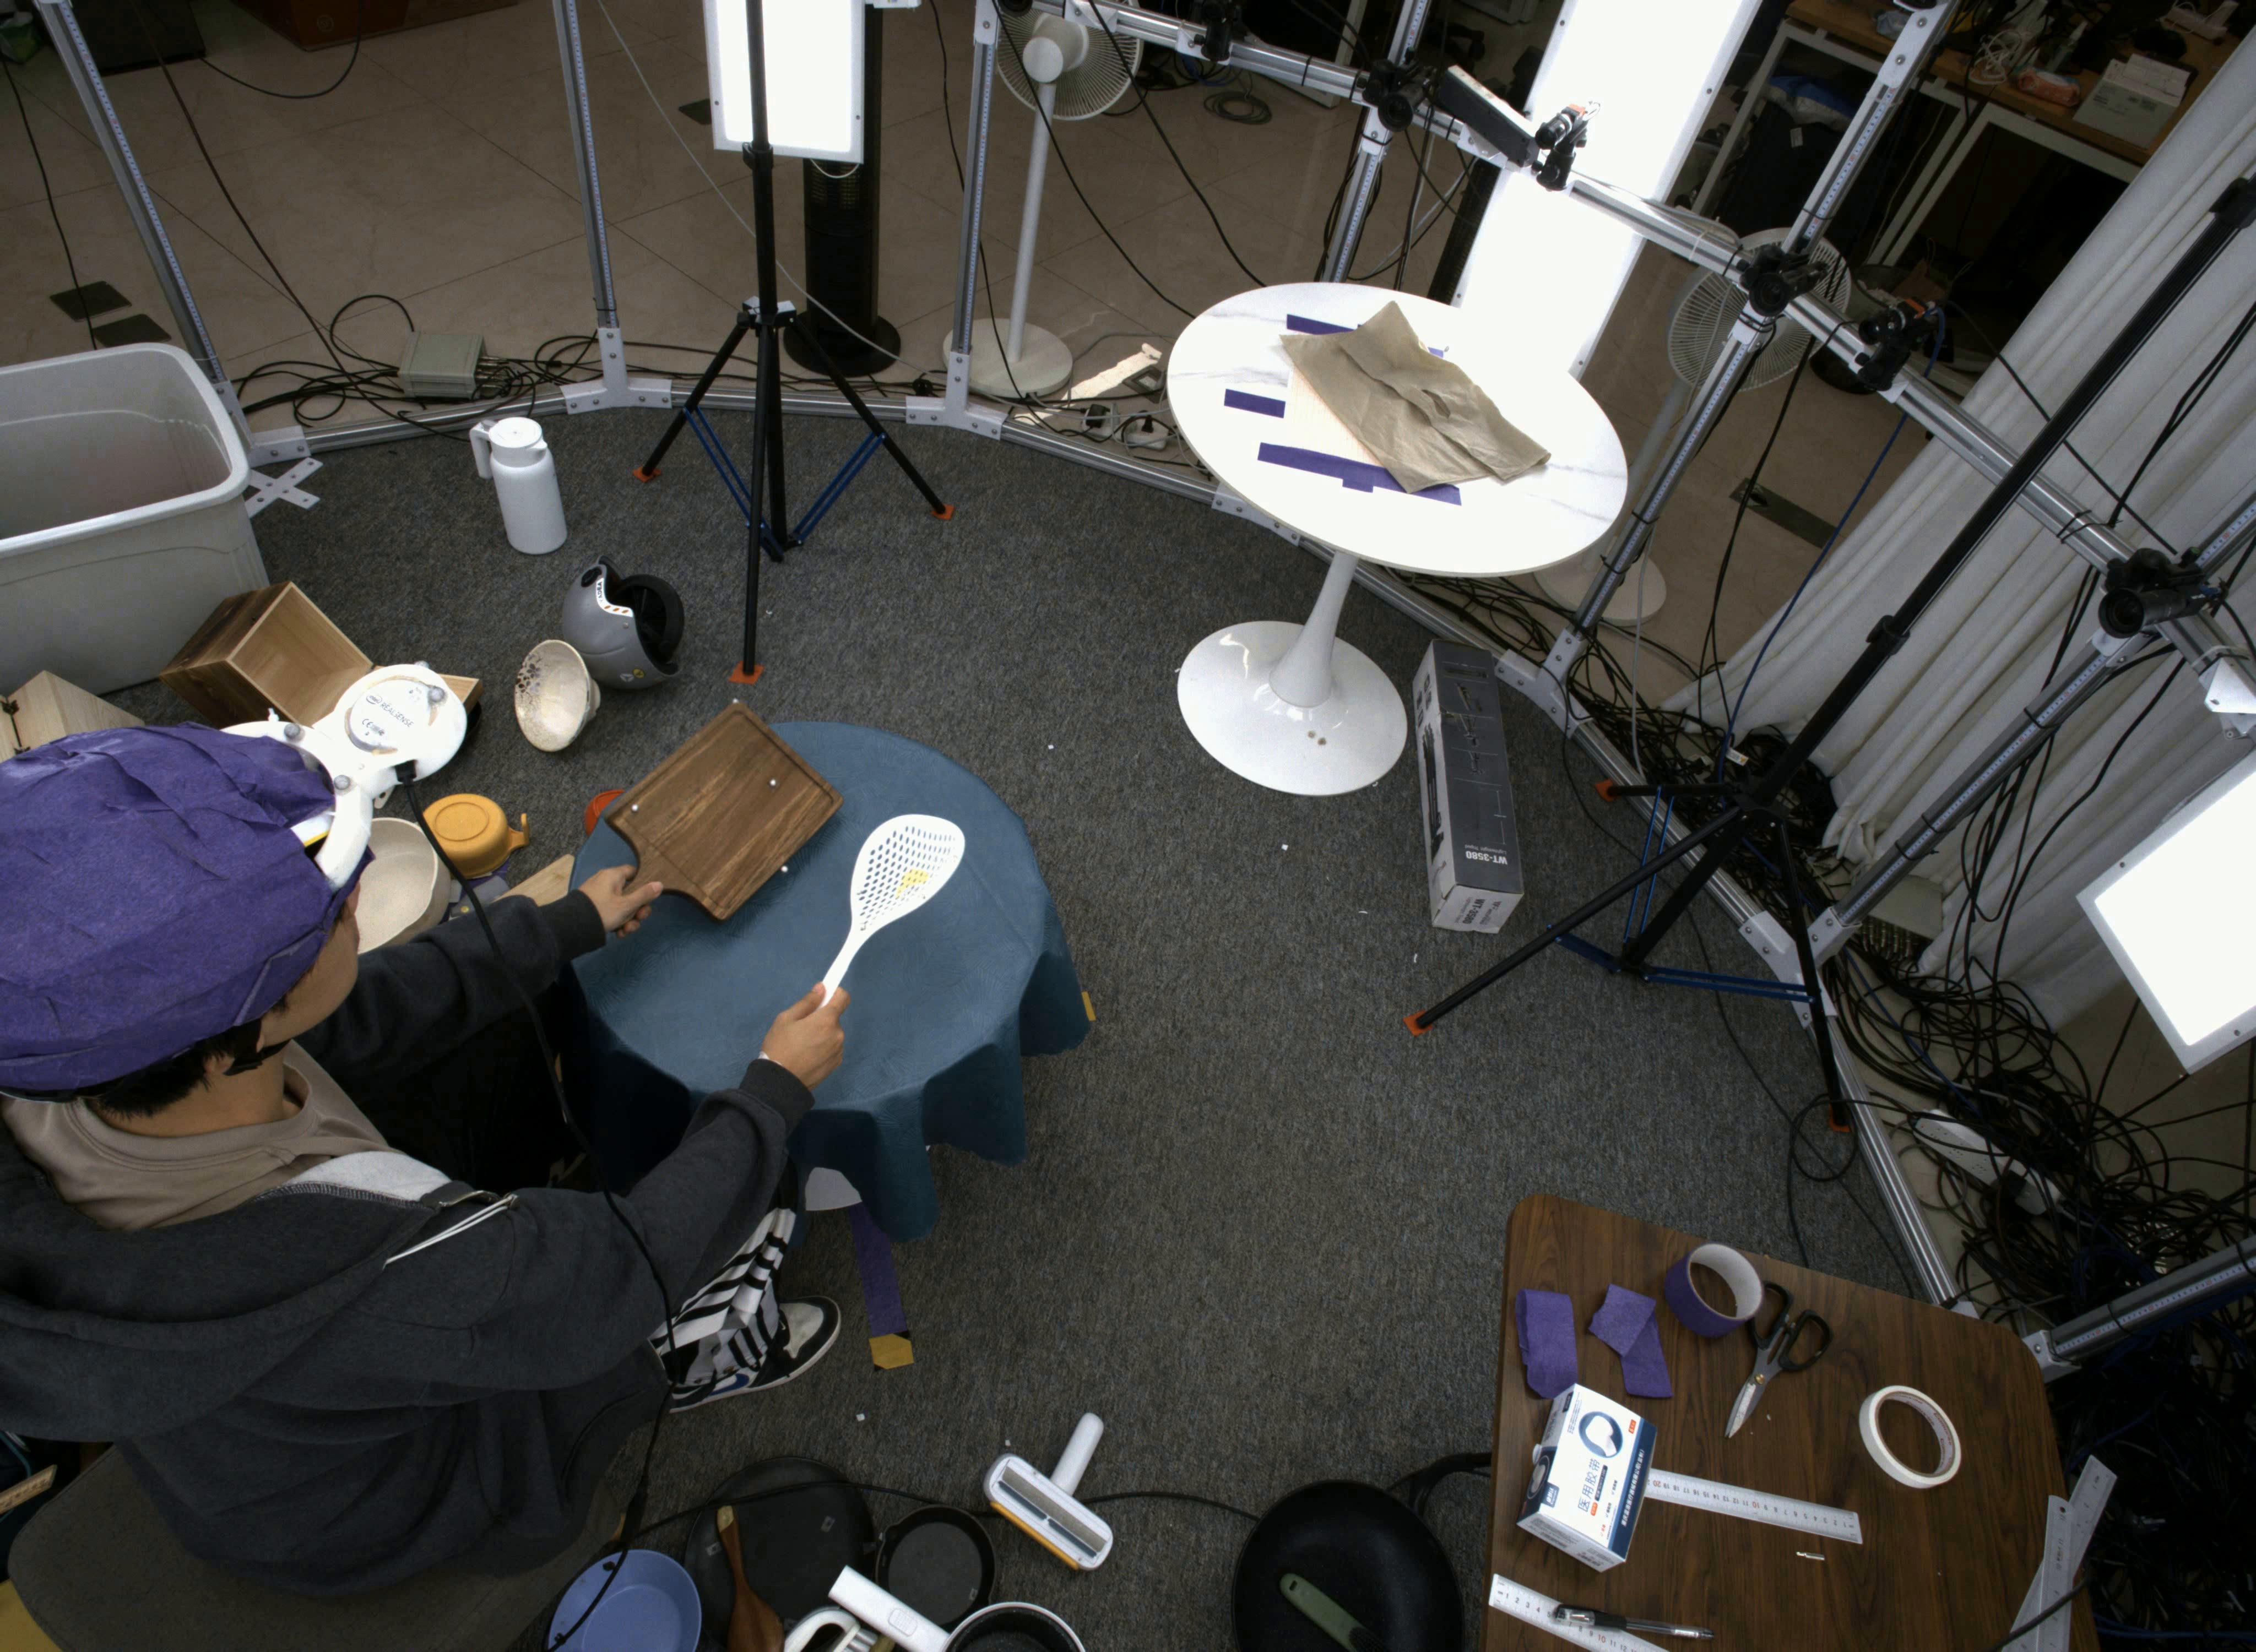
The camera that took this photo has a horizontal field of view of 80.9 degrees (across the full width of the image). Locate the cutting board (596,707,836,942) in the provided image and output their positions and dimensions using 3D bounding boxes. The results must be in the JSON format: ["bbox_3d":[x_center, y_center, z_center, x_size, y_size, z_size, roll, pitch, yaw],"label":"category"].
[{"bbox_3d":[-0.540,0.015,1.604,0.203,0.023,0.350,43,50,-8],"label":"cutting board"}]

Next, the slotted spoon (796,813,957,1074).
[{"bbox_3d":[-0.309,0.127,1.515,0.133,0.052,0.345,12,52,20],"label":"slotted spoon"}]
